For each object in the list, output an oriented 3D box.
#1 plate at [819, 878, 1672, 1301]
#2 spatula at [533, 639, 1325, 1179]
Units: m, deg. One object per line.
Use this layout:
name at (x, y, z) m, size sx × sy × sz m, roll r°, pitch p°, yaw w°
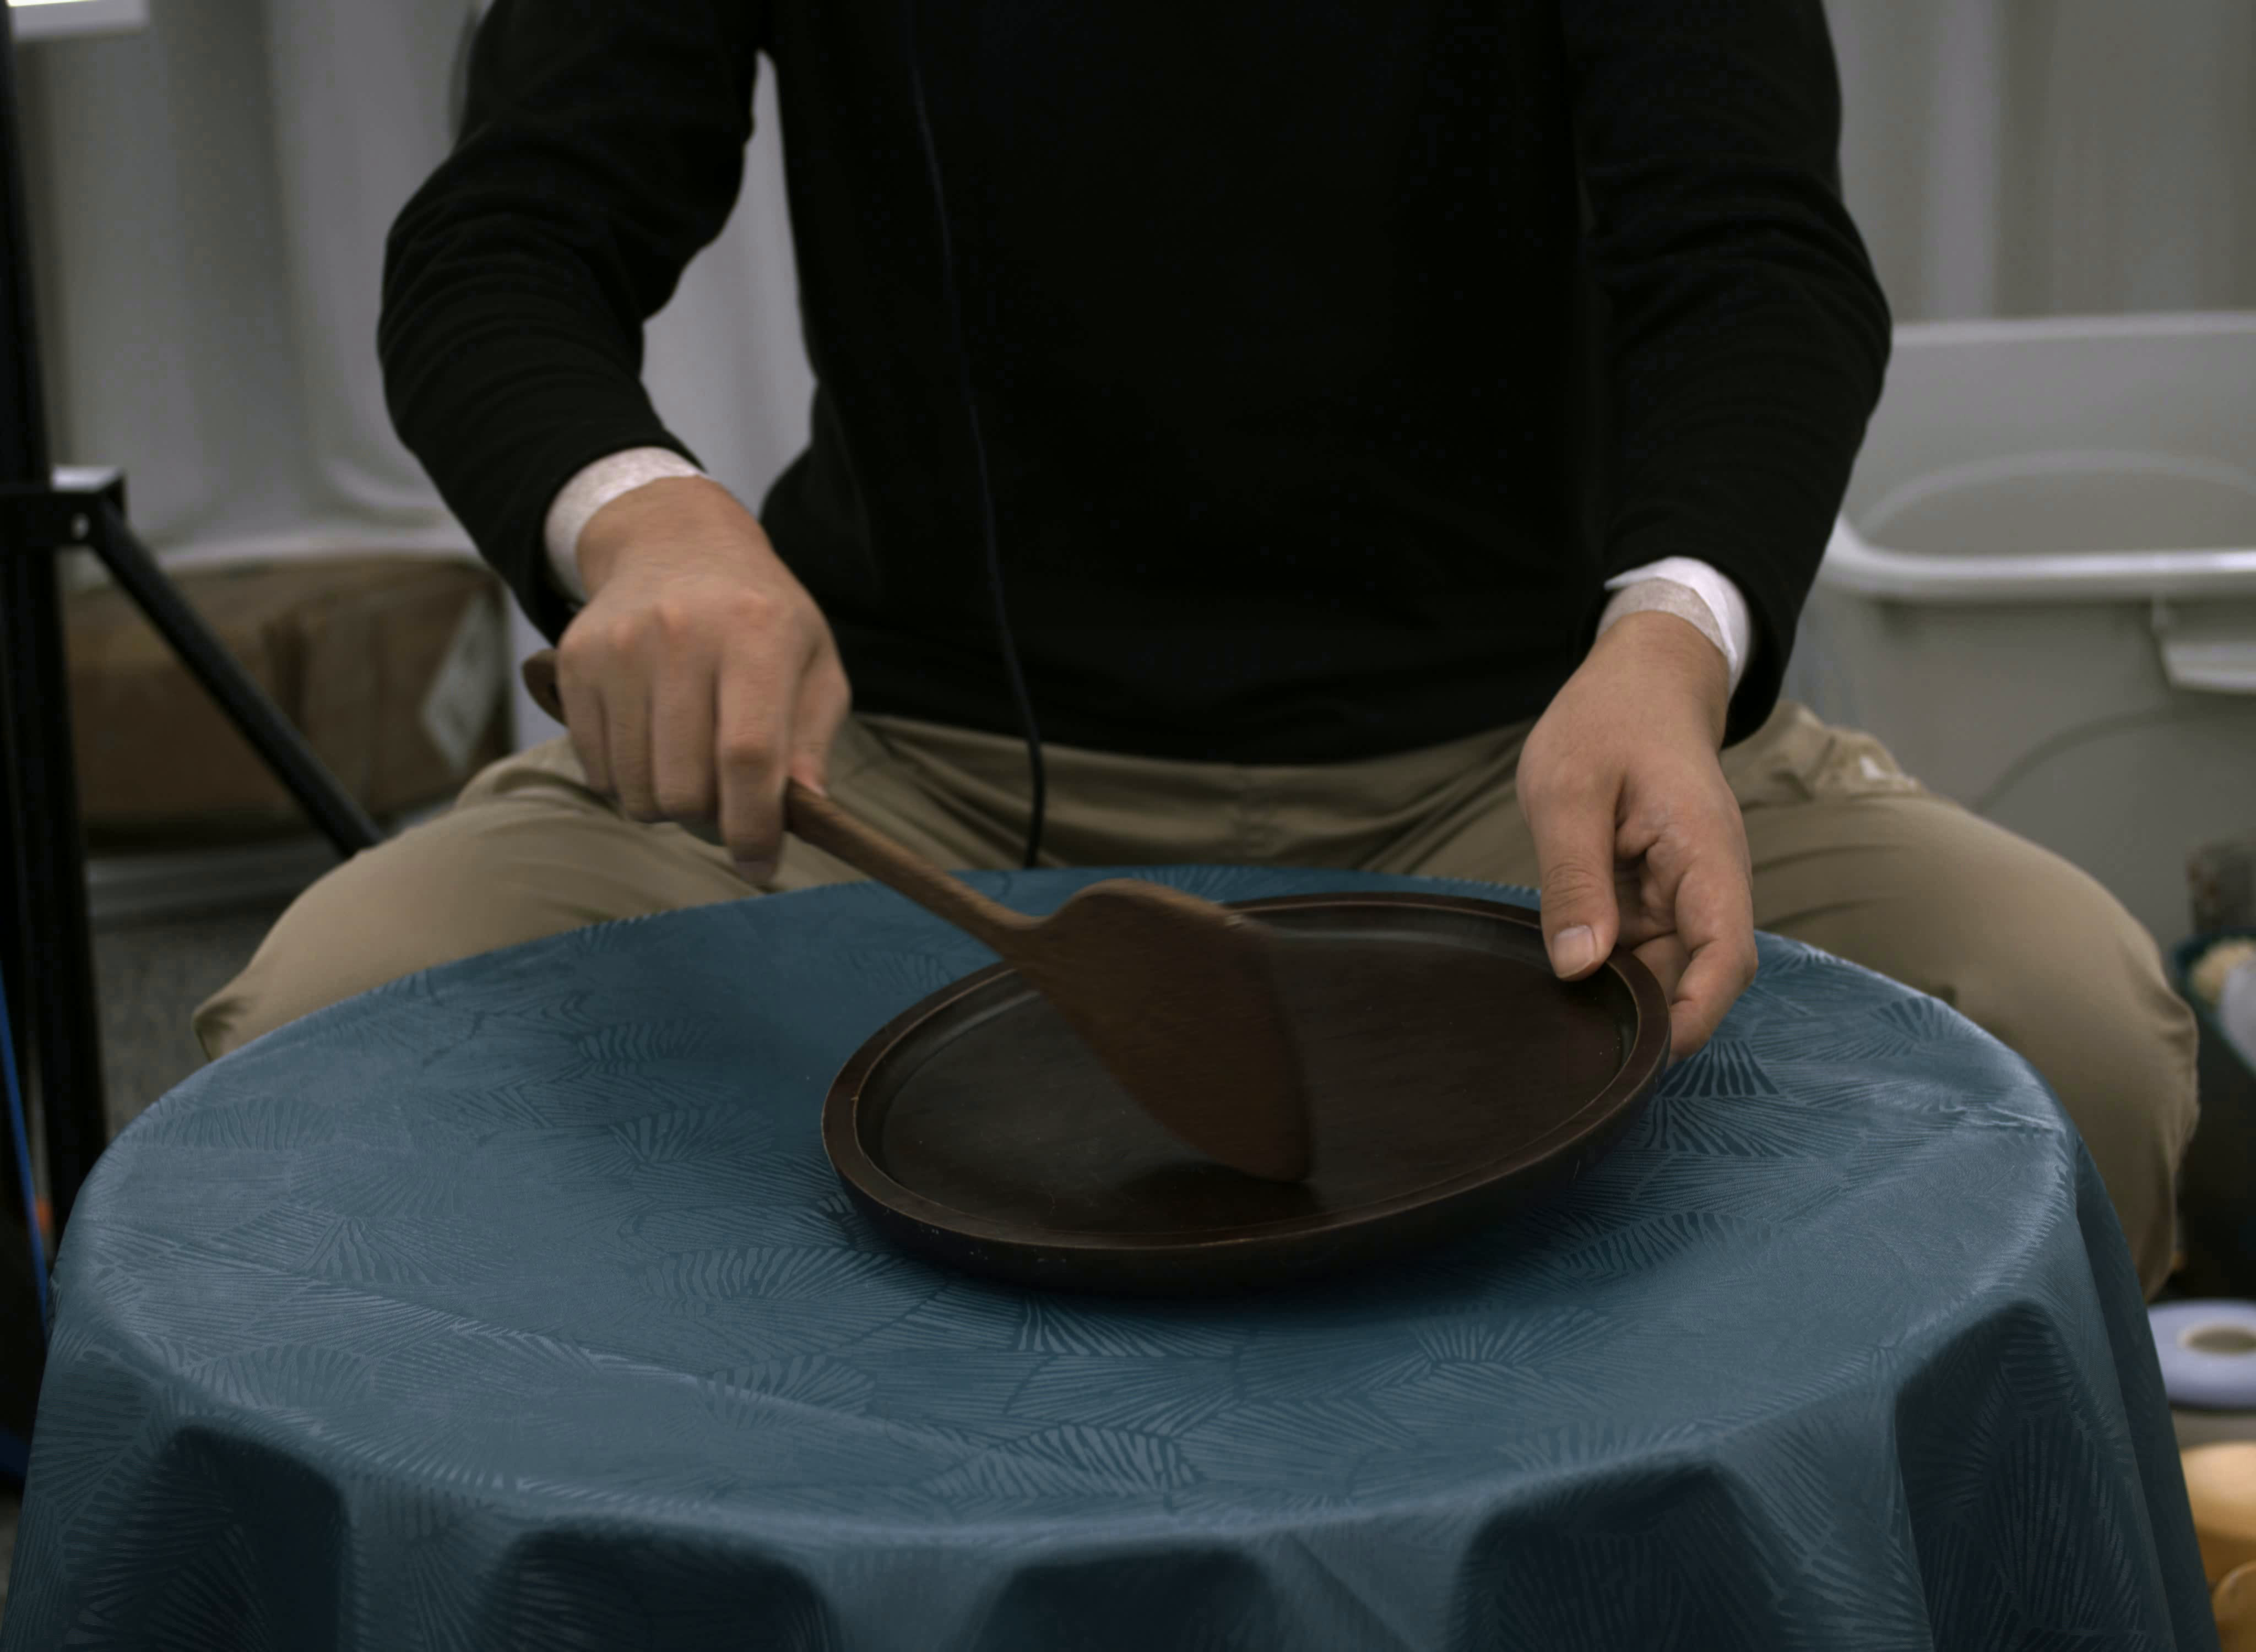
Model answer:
plate at (0.035, 0.077, 1.561) m, size 0.254 × 0.029 × 0.256 m, roll -10°, pitch 21°, yaw 2°
spatula at (-0.069, 0.007, 1.598) m, size 0.015 × 0.095 × 0.395 m, roll -30°, pitch 35°, yaw -27°
